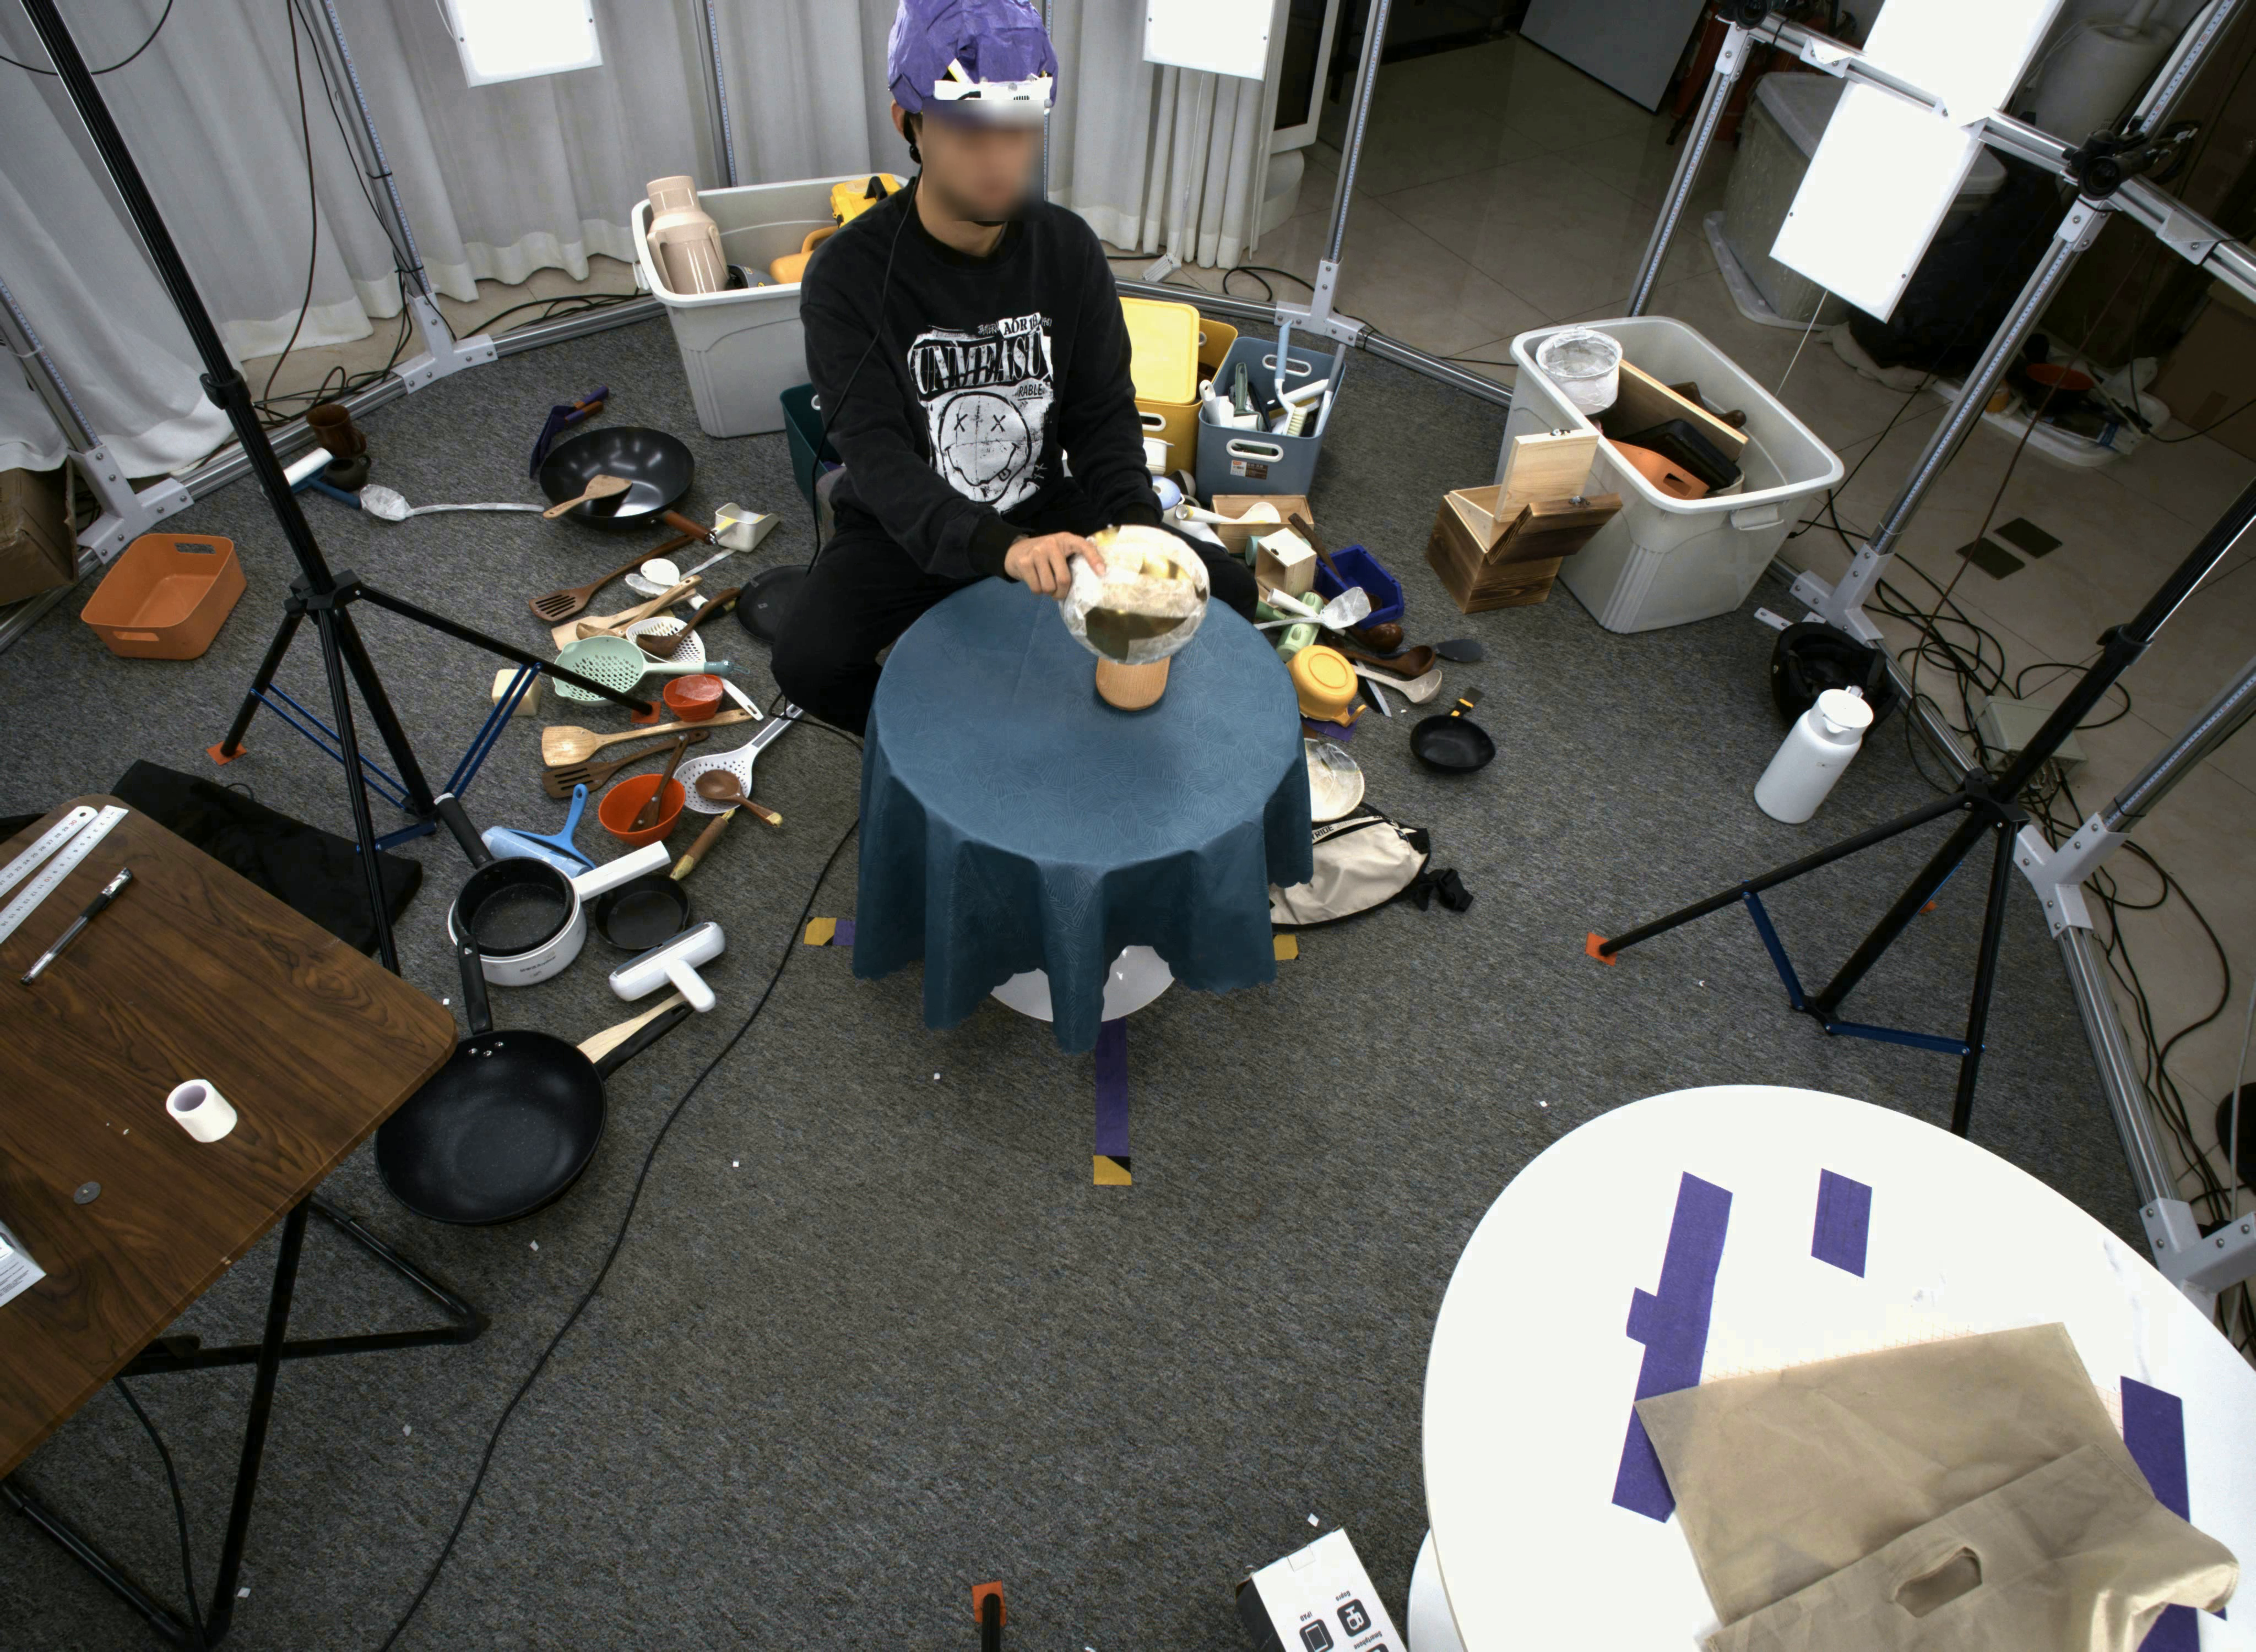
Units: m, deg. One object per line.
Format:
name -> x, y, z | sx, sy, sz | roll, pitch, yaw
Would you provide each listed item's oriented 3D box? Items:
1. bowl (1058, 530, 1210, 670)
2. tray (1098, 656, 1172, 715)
bowl -> 0.005, -0.274, 1.680 | 0.214, 0.209, 0.097 | 5, 47, 0
tray -> 0.016, -0.263, 1.870 | 0.102, 0.020, 0.235 | 8, 64, 2
